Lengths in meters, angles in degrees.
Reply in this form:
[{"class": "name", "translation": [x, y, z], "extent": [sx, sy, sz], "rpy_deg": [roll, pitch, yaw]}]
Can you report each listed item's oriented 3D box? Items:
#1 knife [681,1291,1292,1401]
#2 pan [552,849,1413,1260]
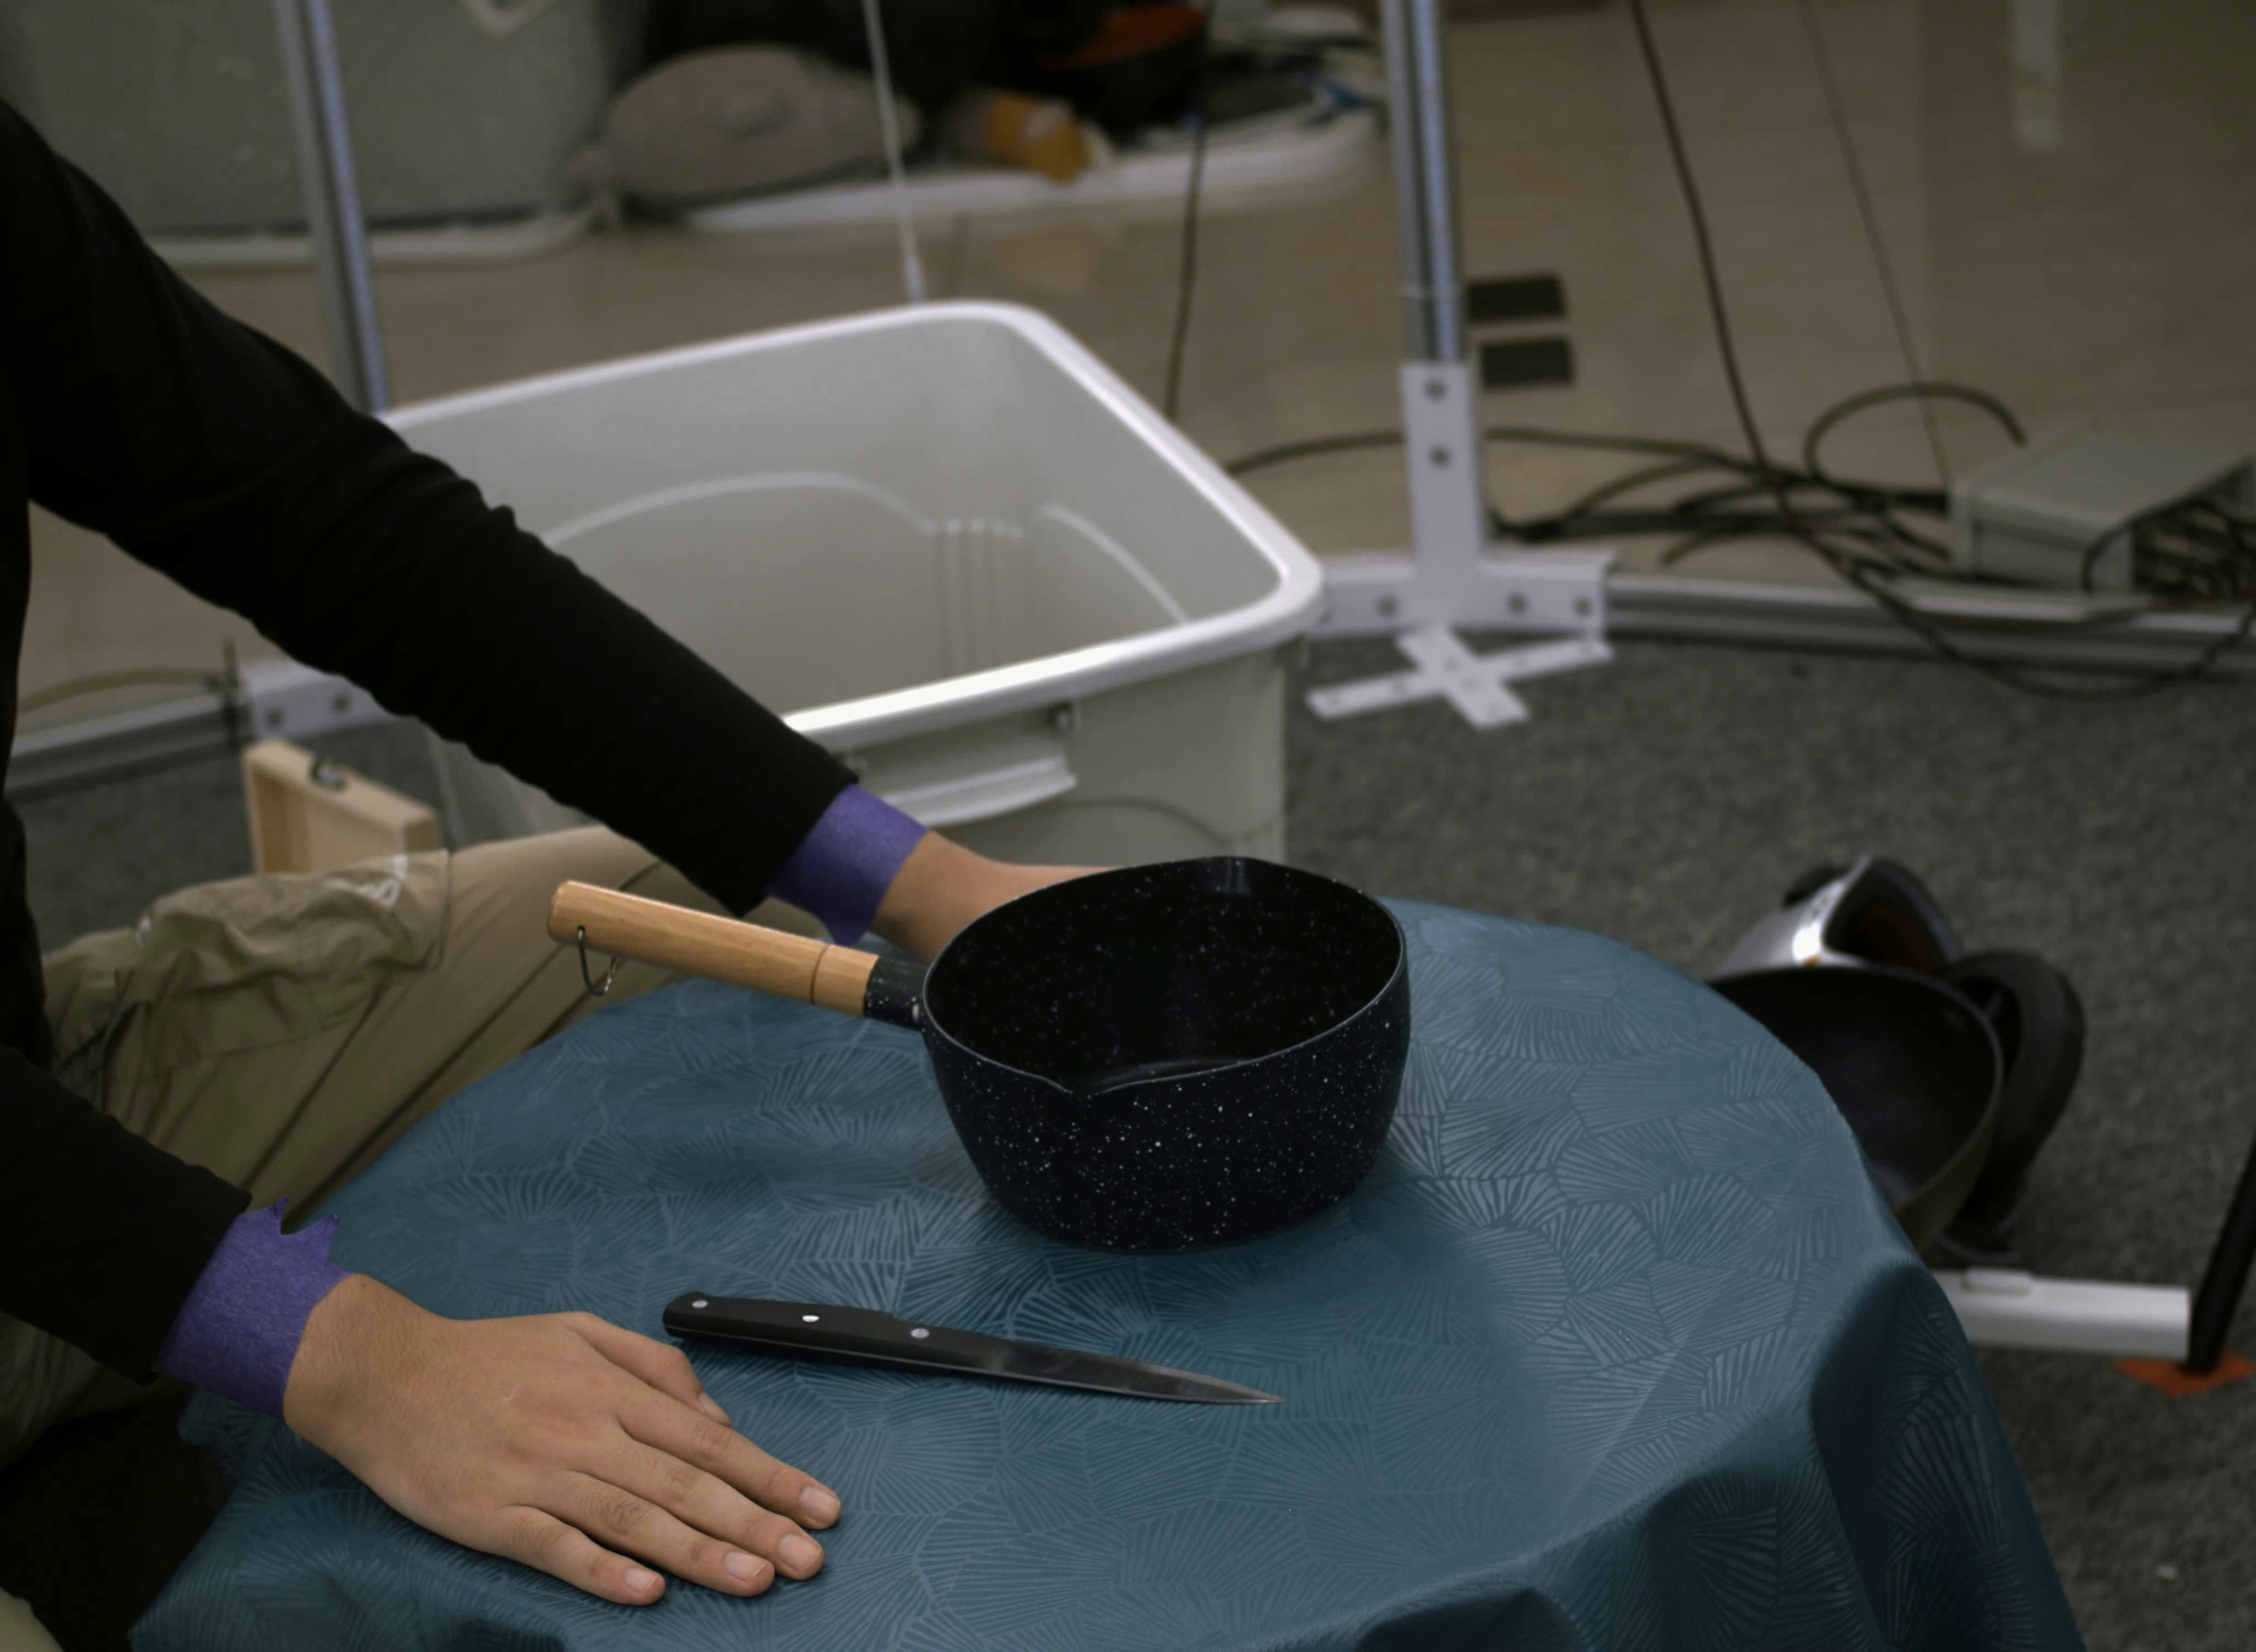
[{"class": "knife", "translation": [-0.055, 0.191, 2.040], "extent": [0.237, 0.016, 0.024], "rpy_deg": [6, 27, 19]}, {"class": "pan", "translation": [-0.059, 0.078, 2.168], "extent": [0.342, 0.110, 0.204], "rpy_deg": [3, 27, 17]}]
